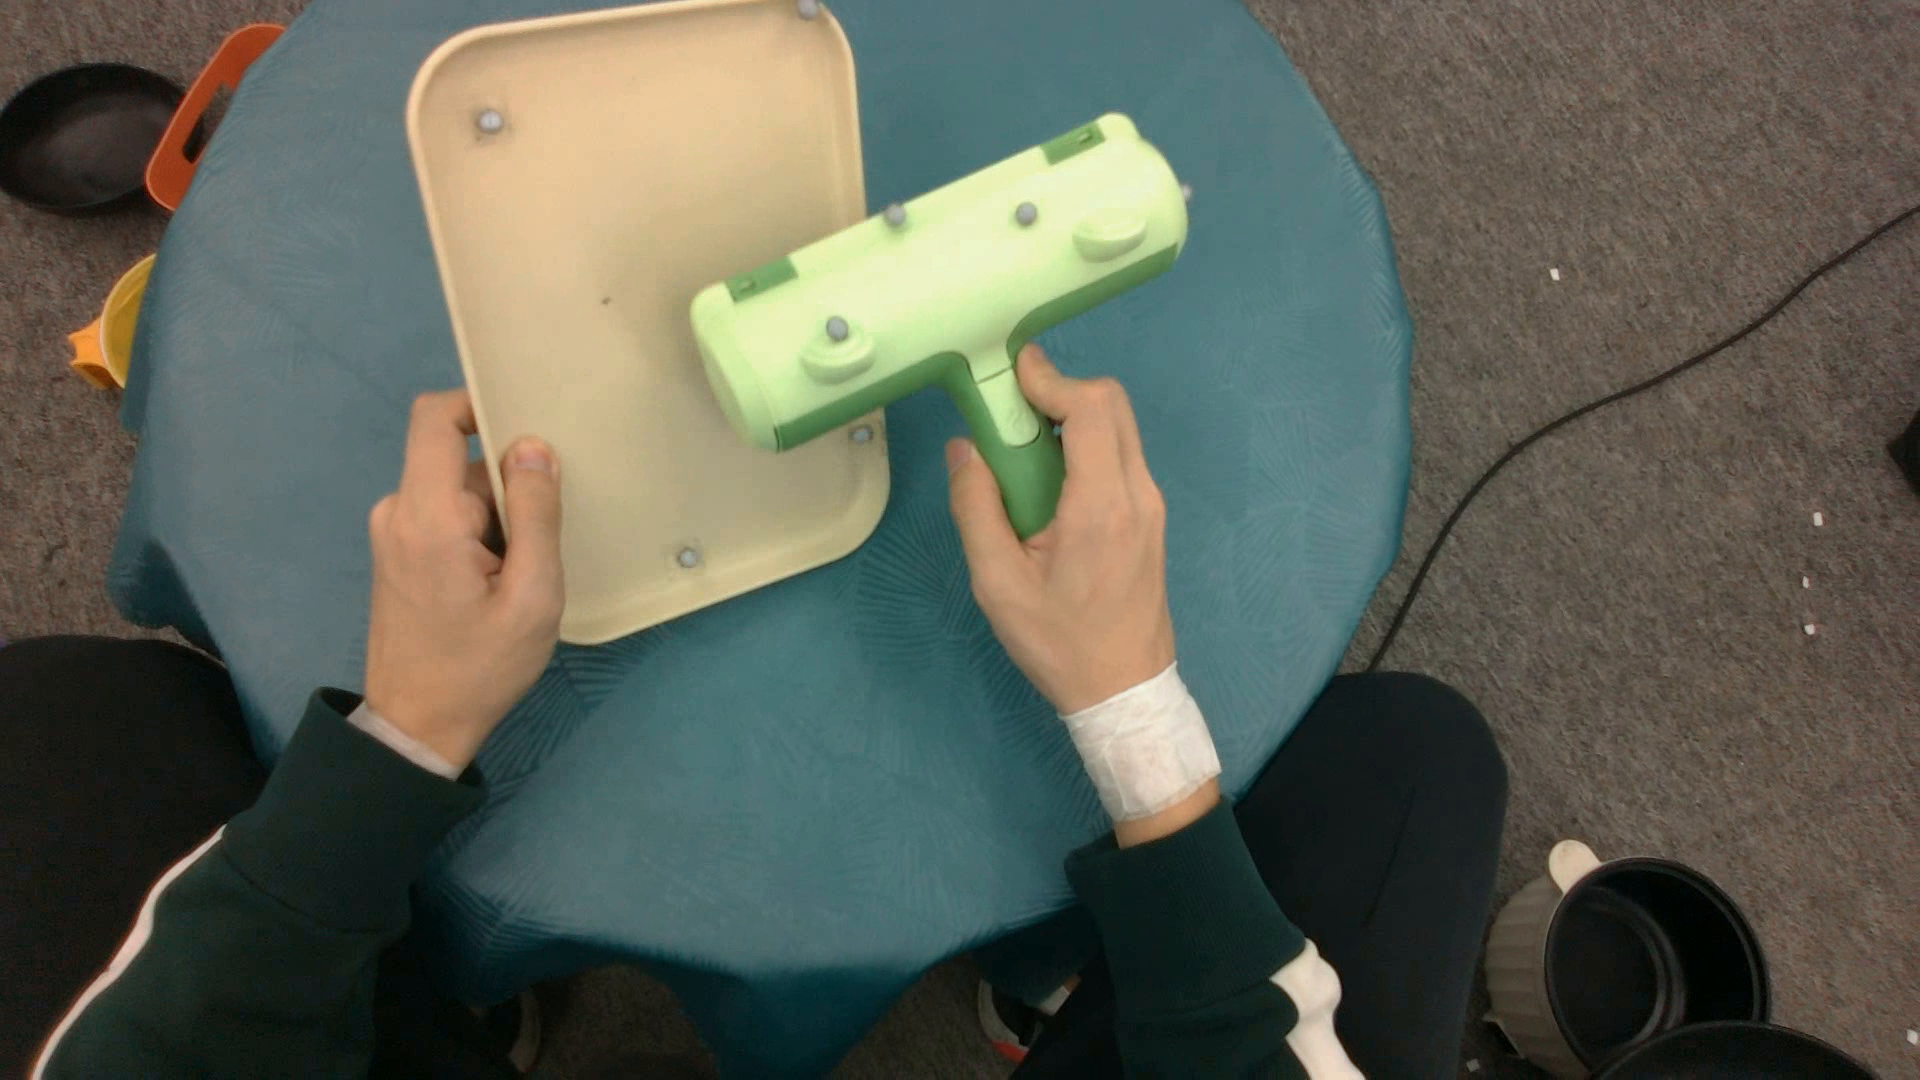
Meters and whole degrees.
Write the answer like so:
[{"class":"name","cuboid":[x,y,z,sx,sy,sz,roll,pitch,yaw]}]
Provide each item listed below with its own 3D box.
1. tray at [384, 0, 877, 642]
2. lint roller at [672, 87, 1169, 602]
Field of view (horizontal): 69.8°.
[{"class":"tray","cuboid":[-0.118,-0.085,0.543,0.172,0.017,0.239,-21,121,-29]},{"class":"lint roller","cuboid":[0.015,-0.059,0.530,0.199,0.082,0.183,-27,95,-16]}]
